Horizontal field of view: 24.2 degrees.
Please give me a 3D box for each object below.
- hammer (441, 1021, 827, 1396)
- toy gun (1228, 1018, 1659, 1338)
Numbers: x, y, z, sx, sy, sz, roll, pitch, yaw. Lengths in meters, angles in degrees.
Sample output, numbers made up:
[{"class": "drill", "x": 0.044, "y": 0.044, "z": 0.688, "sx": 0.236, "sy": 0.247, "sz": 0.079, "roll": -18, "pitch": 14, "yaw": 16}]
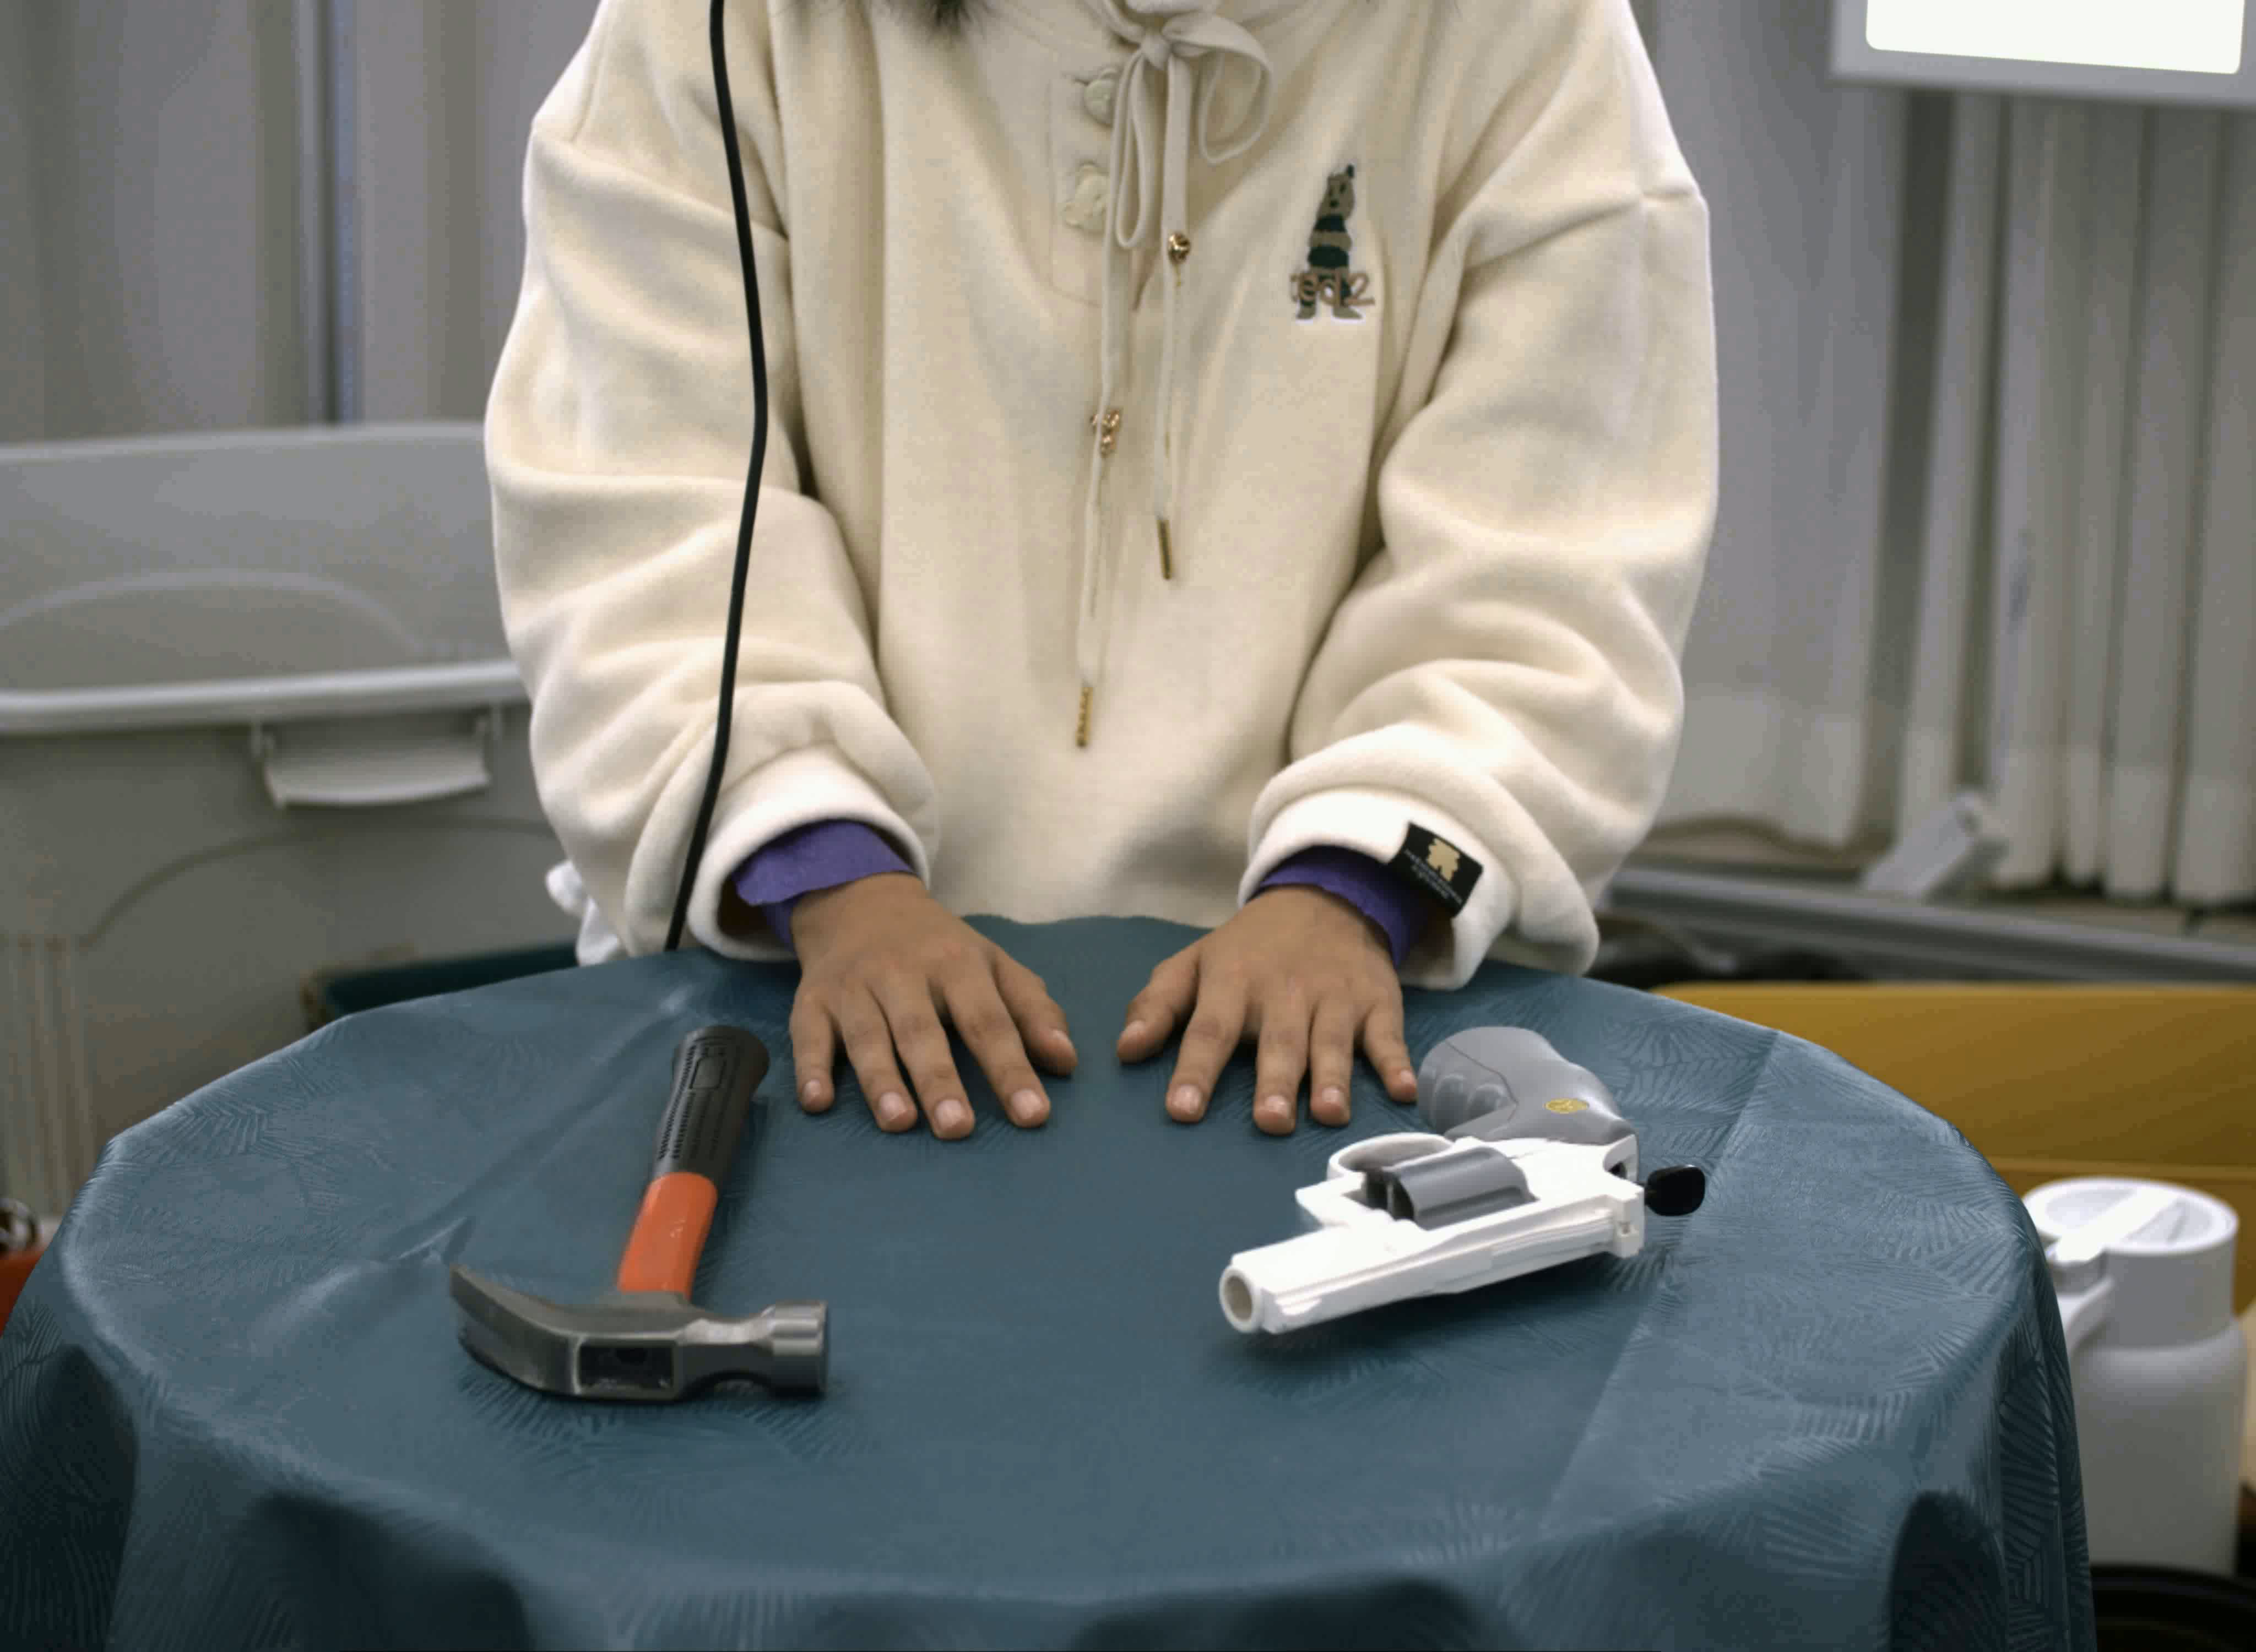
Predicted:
[{"class": "hammer", "x": -0.136, "y": 0.110, "z": 1.573, "sx": 0.110, "sy": 0.026, "sz": 0.276, "roll": -8, "pitch": 15, "yaw": 3}, {"class": "toy gun", "x": 0.086, "y": 0.105, "z": 1.574, "sx": 0.210, "sy": 0.039, "sz": 0.139, "roll": -12, "pitch": 21, "yaw": -37}]
